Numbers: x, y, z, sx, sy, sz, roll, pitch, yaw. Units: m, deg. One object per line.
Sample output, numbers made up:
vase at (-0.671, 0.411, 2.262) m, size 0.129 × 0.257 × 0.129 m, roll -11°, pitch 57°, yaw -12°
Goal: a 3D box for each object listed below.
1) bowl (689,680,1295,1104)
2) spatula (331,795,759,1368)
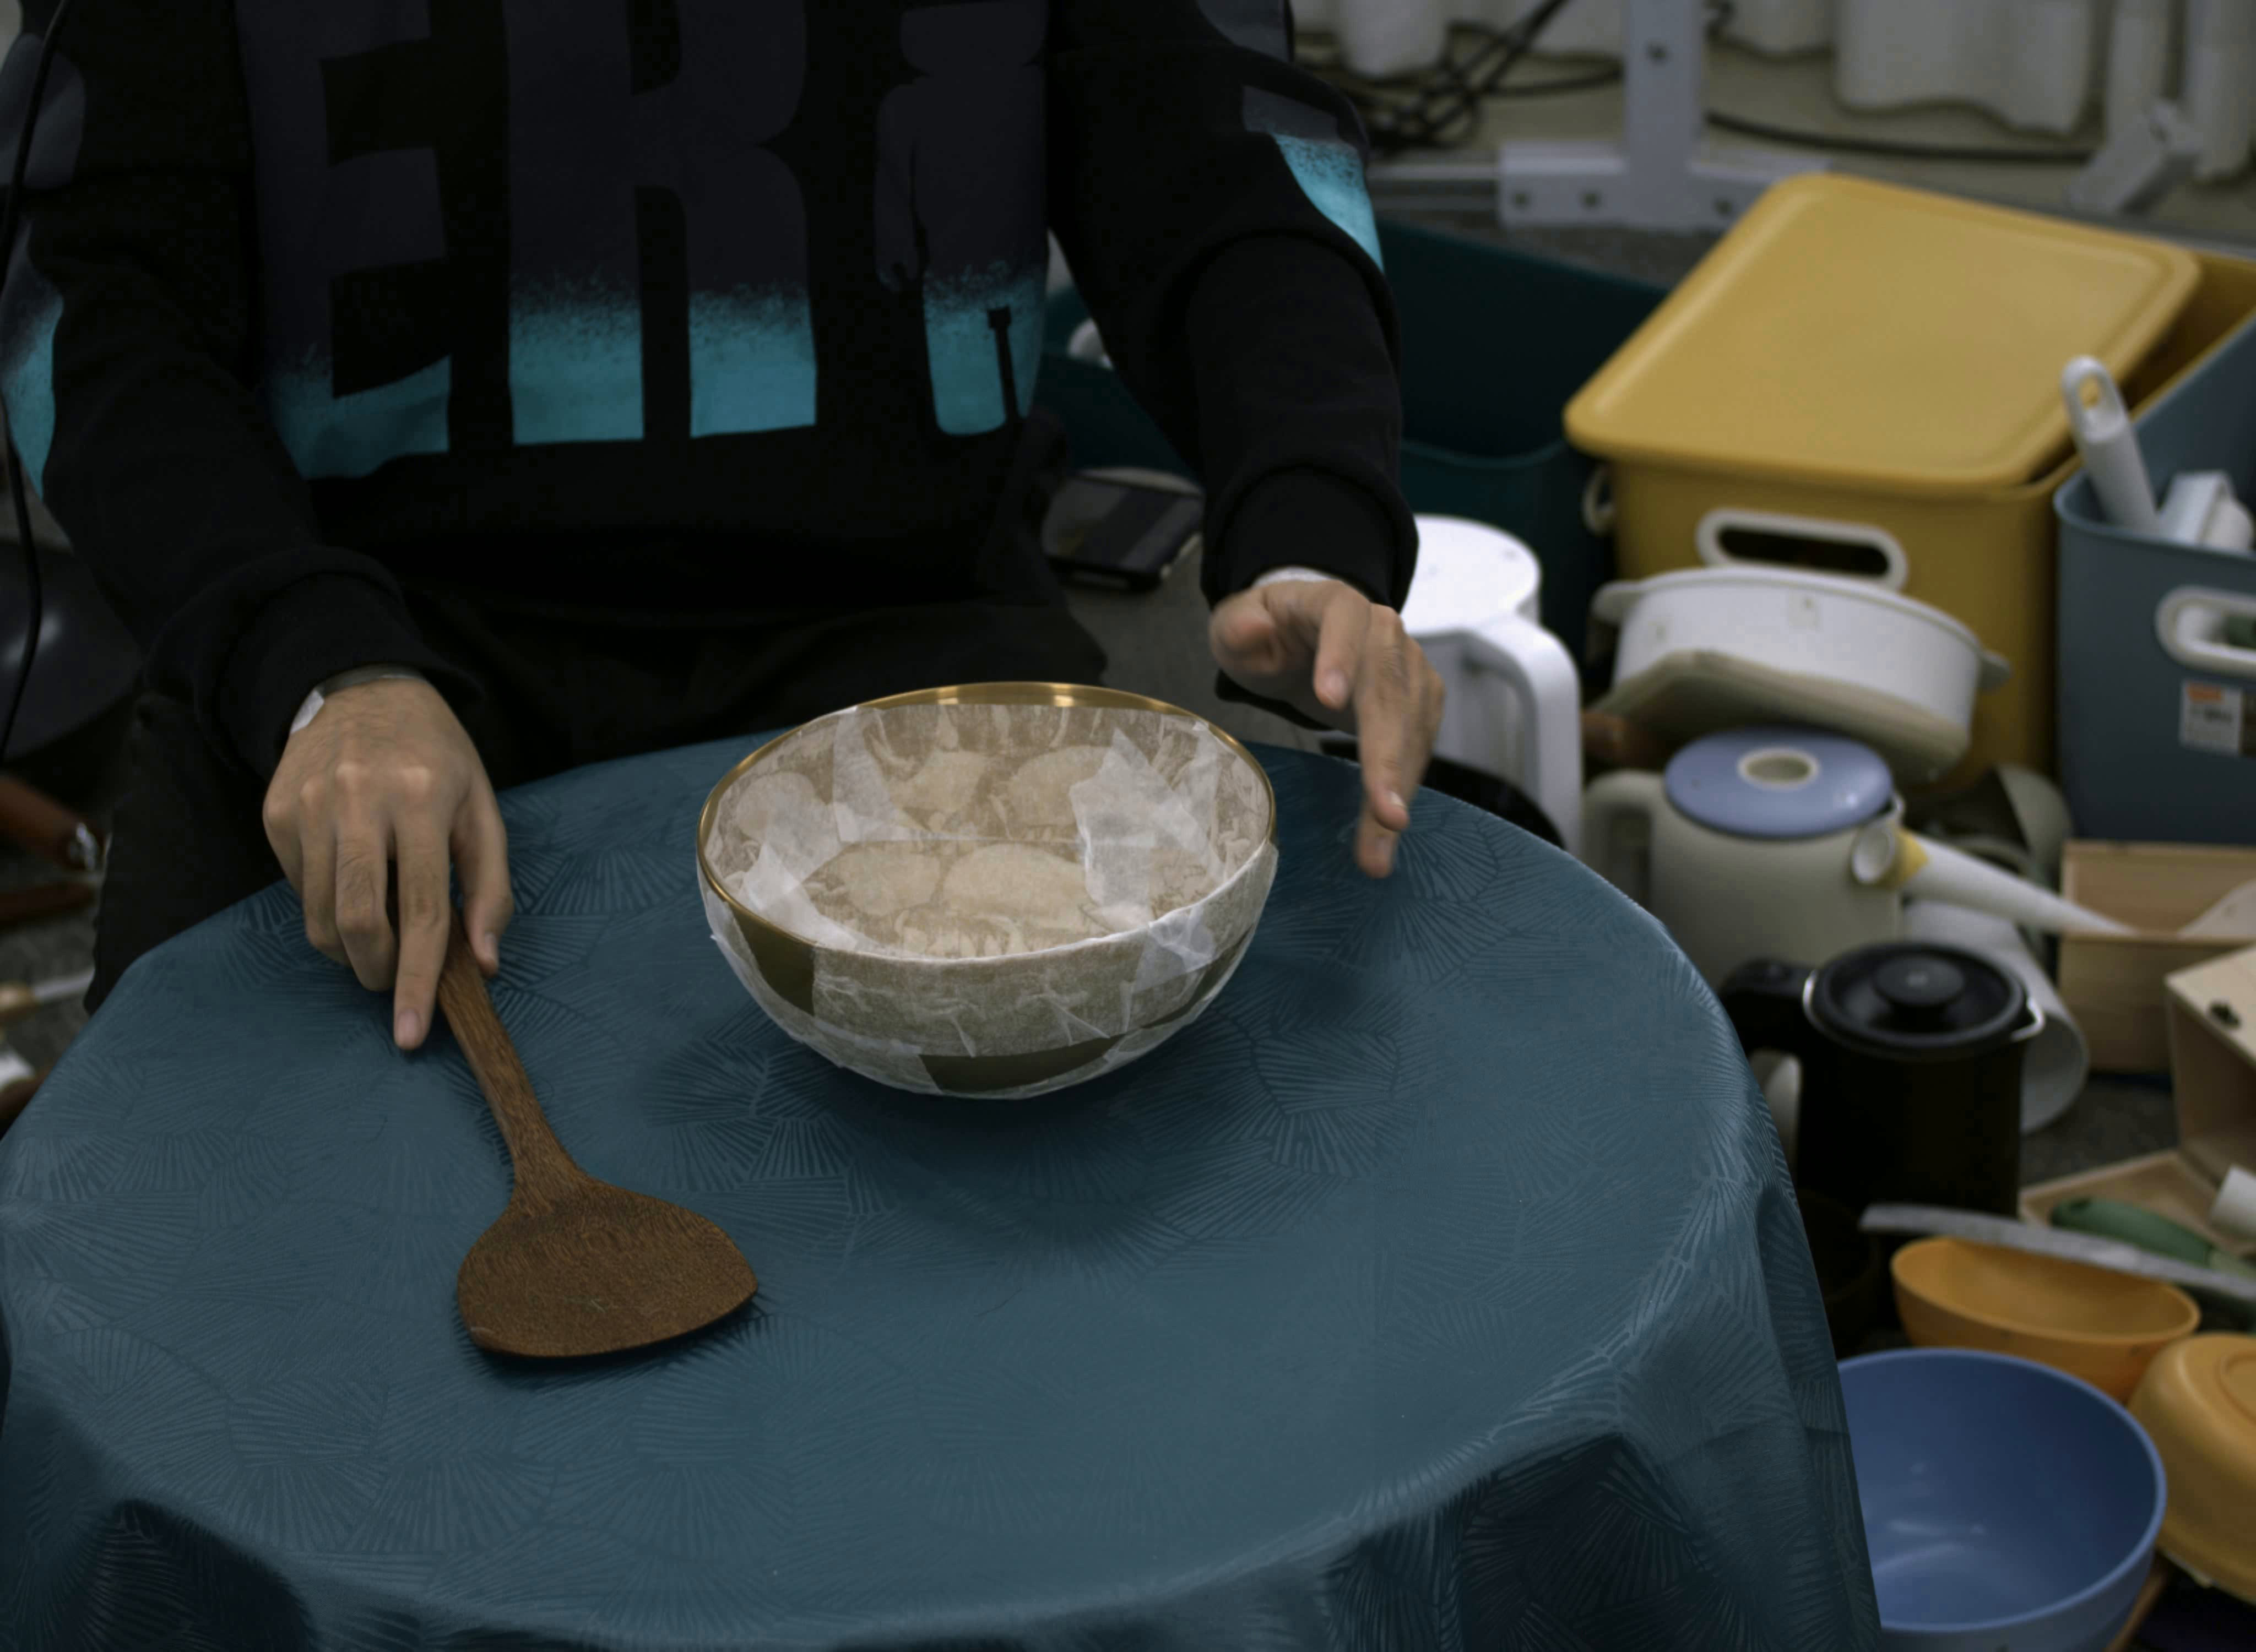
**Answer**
bowl at (-0.044, 0.034, 1.936) m, size 0.213 × 0.093 × 0.218 m, roll -4°, pitch 26°, yaw 2°
spatula at (-0.221, 0.079, 1.936) m, size 0.096 × 0.015 × 0.390 m, roll -11°, pitch 32°, yaw -16°
